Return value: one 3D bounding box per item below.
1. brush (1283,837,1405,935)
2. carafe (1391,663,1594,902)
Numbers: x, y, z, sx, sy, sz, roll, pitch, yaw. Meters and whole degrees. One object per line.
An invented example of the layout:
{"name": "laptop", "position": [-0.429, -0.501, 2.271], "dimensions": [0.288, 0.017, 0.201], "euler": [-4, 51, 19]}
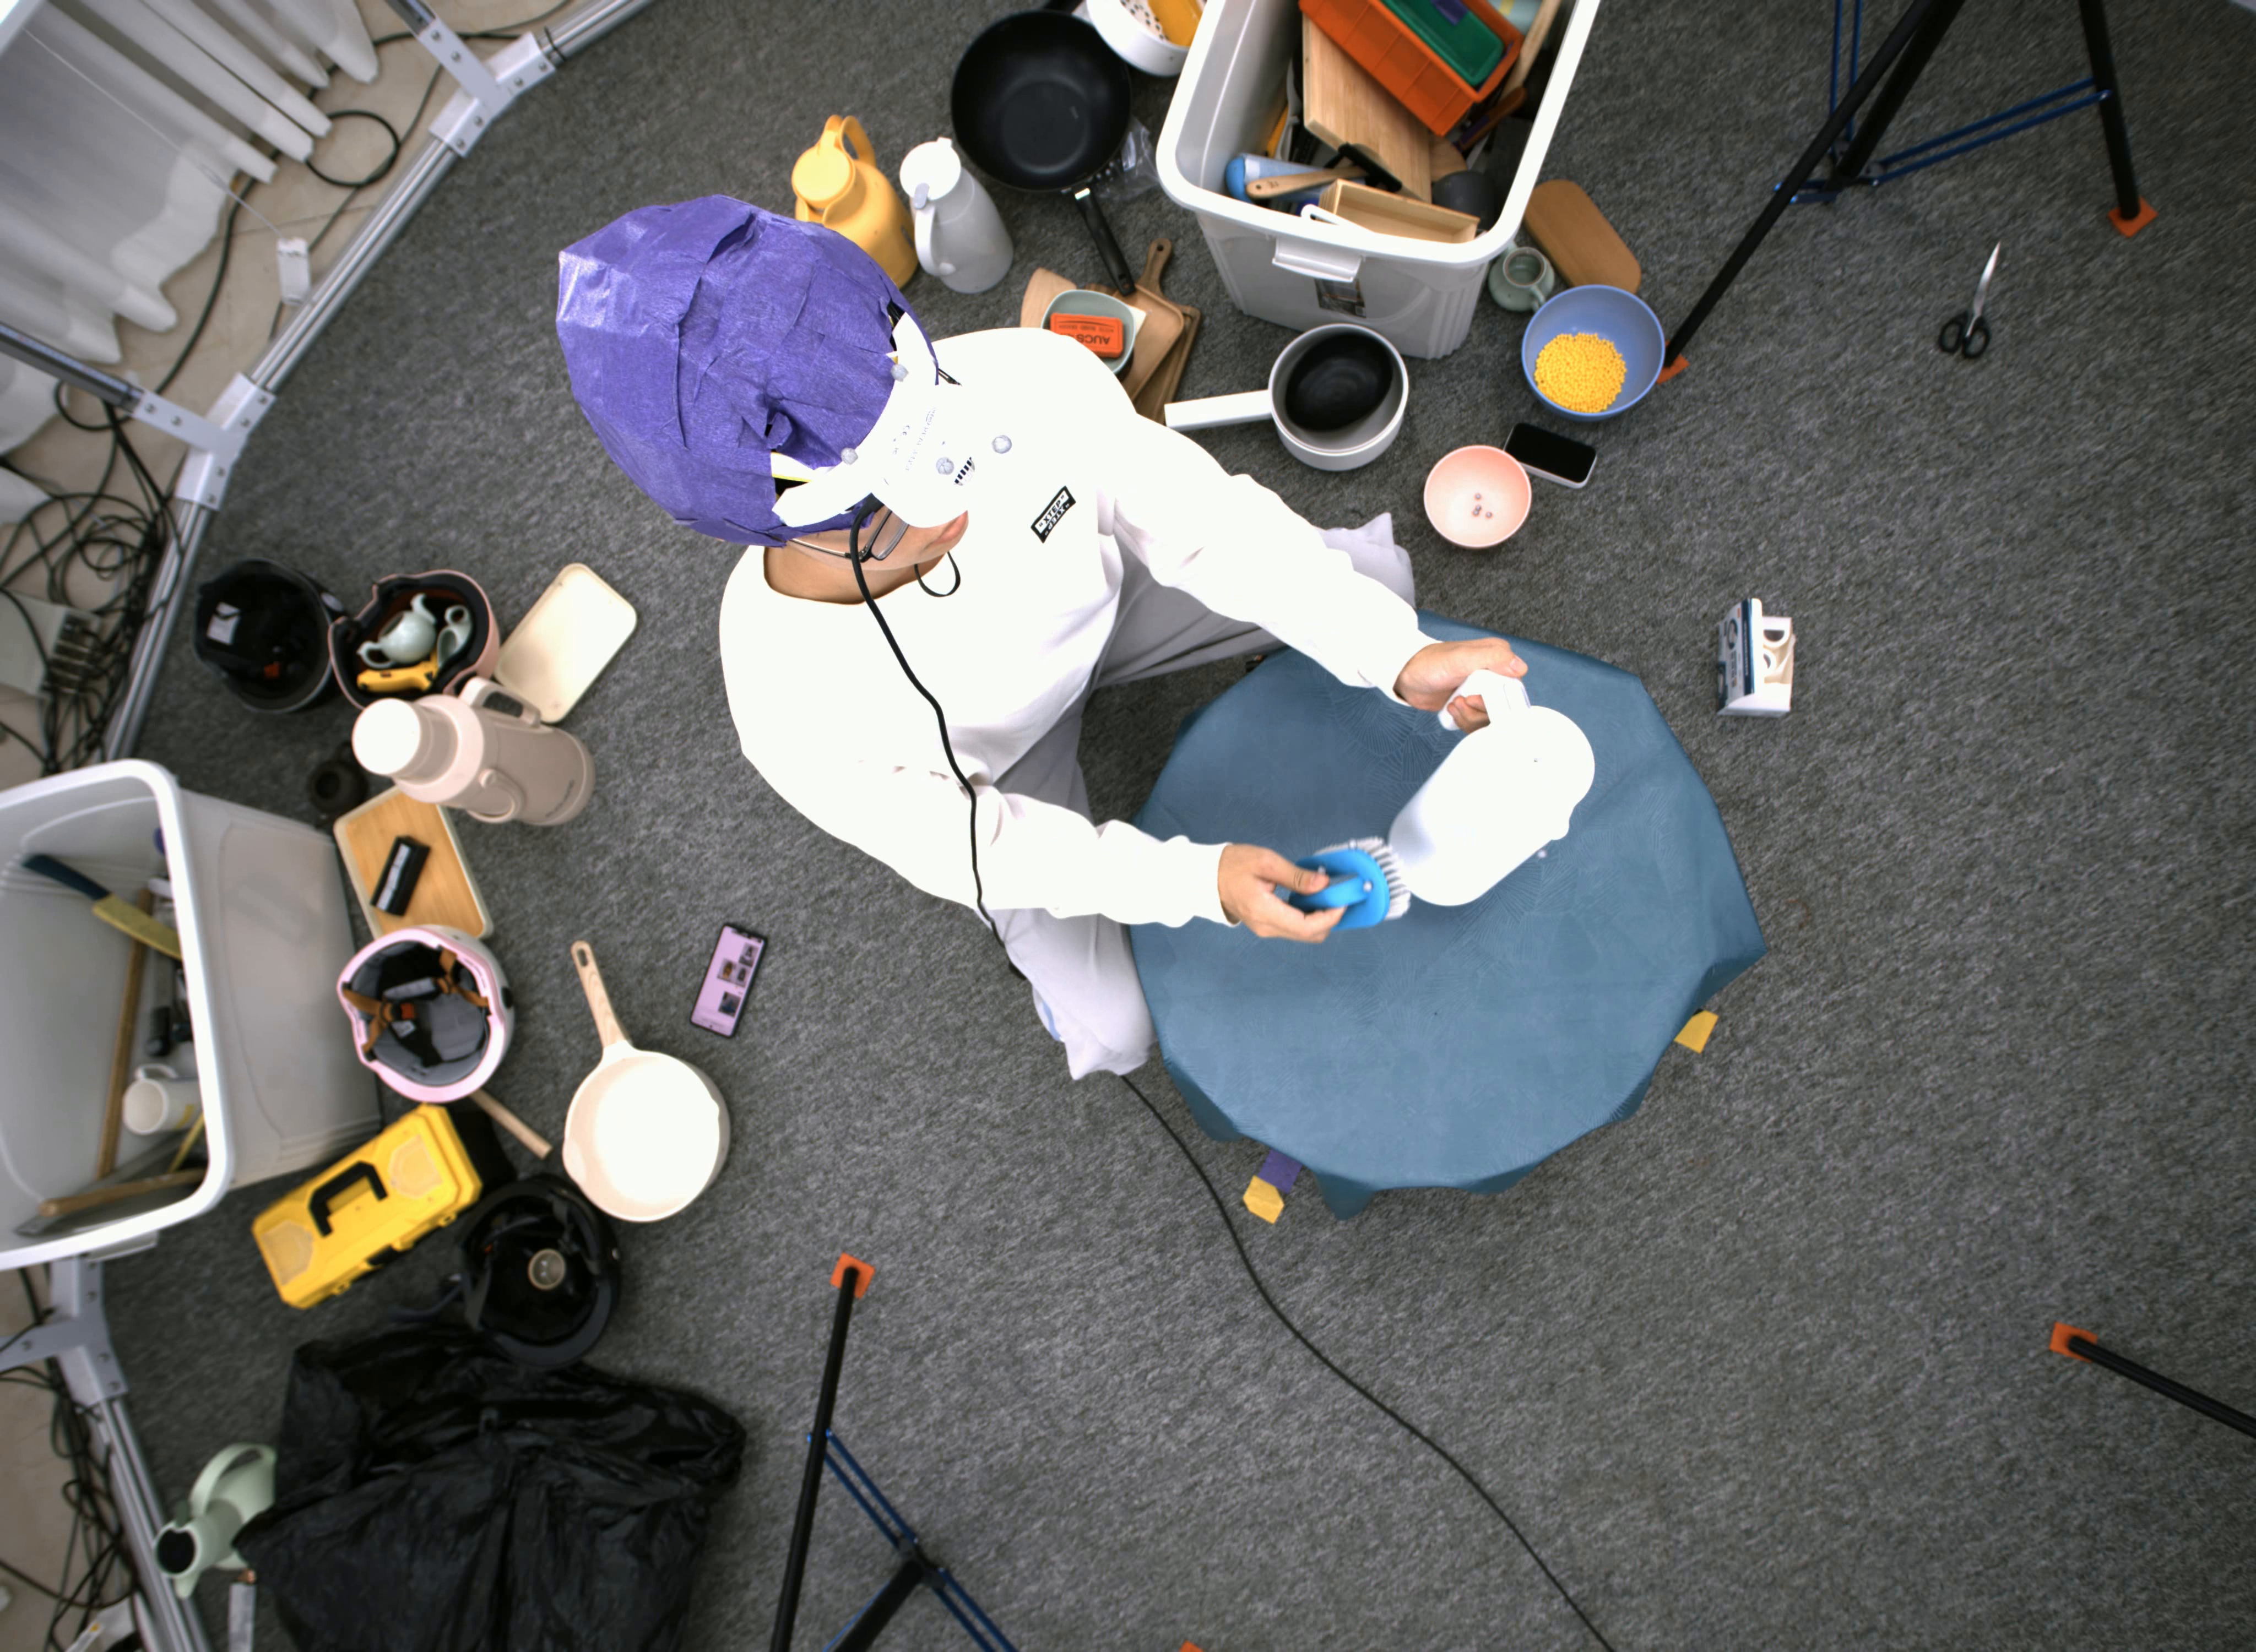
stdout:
{"name": "brush", "position": [0.187, 0.062, 1.271], "dimensions": [0.063, 0.143, 0.085], "euler": [-25, 97, -28]}
{"name": "carafe", "position": [0.327, -0.034, 1.274], "dimensions": [0.123, 0.272, 0.170], "euler": [-13, 74, -6]}
